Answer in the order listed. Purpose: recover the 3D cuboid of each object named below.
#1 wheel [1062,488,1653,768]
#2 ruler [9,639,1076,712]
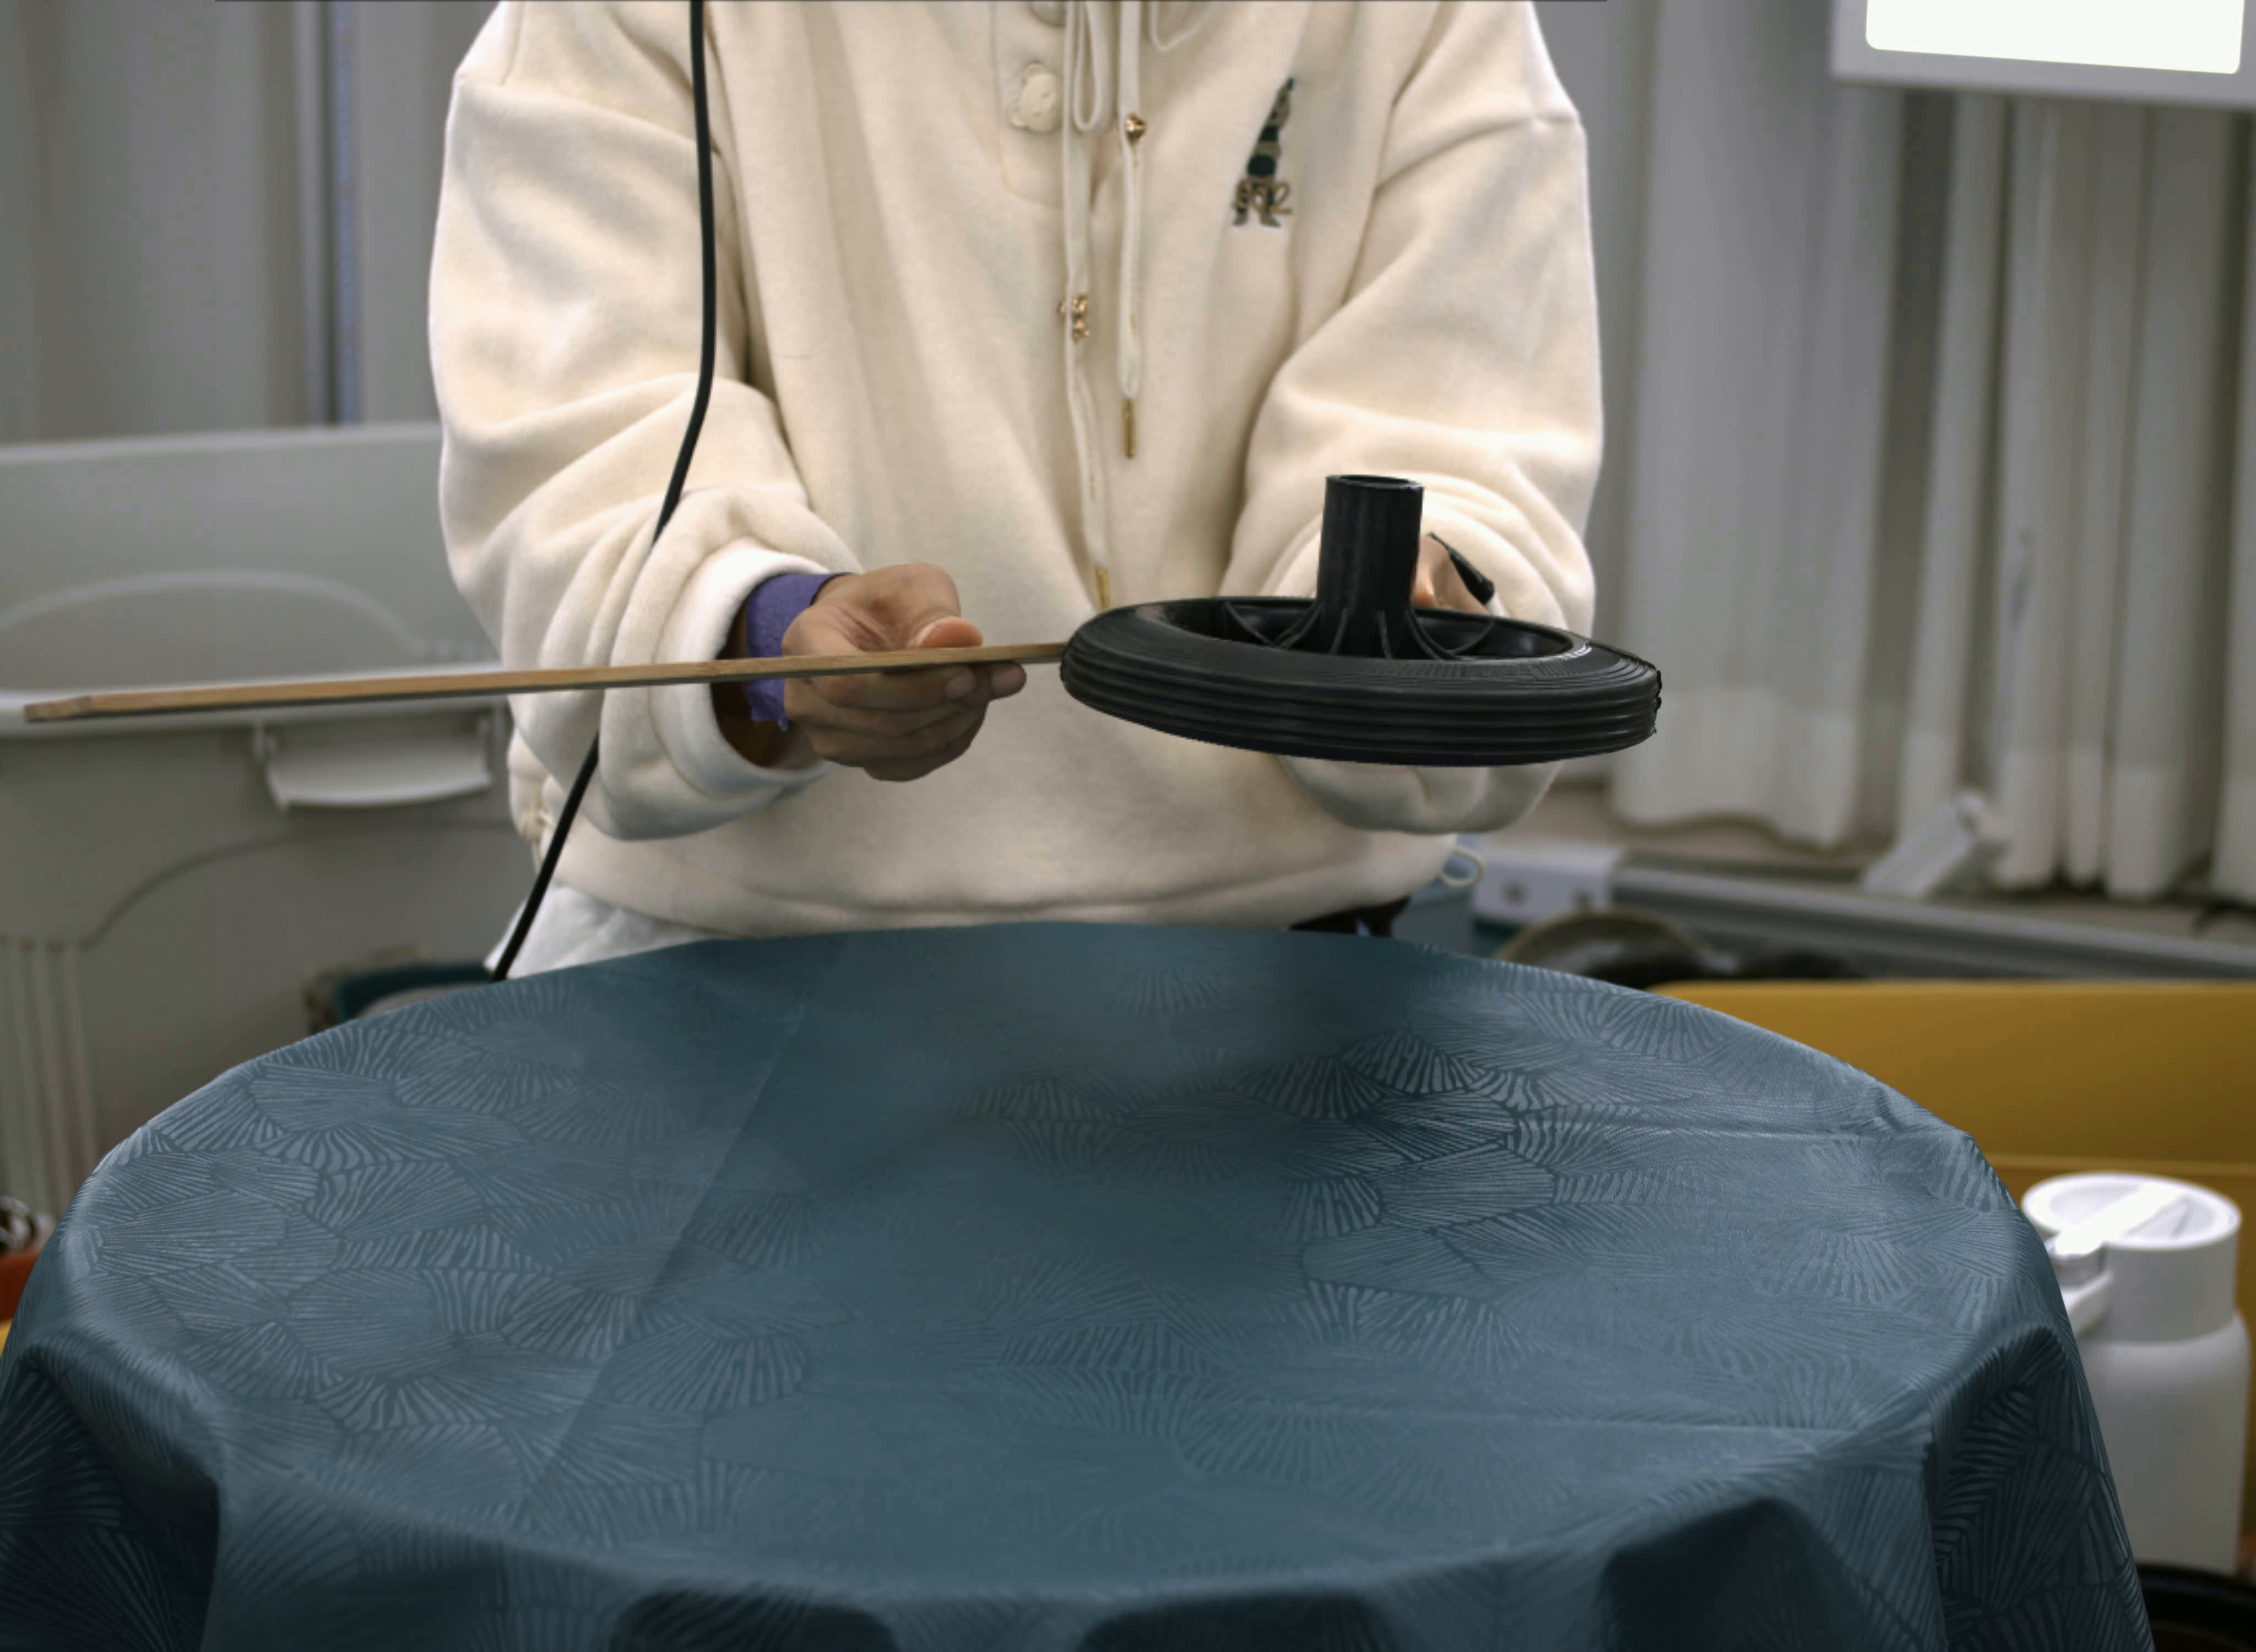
[{"bbox_3d":[0.074,-0.065,1.656,0.185,0.079,0.191,12,11,37],"label":"wheel"},{"bbox_3d":[-0.136,-0.046,1.529,0.026,0.006,0.504,-9,-2,34],"label":"ruler"}]
